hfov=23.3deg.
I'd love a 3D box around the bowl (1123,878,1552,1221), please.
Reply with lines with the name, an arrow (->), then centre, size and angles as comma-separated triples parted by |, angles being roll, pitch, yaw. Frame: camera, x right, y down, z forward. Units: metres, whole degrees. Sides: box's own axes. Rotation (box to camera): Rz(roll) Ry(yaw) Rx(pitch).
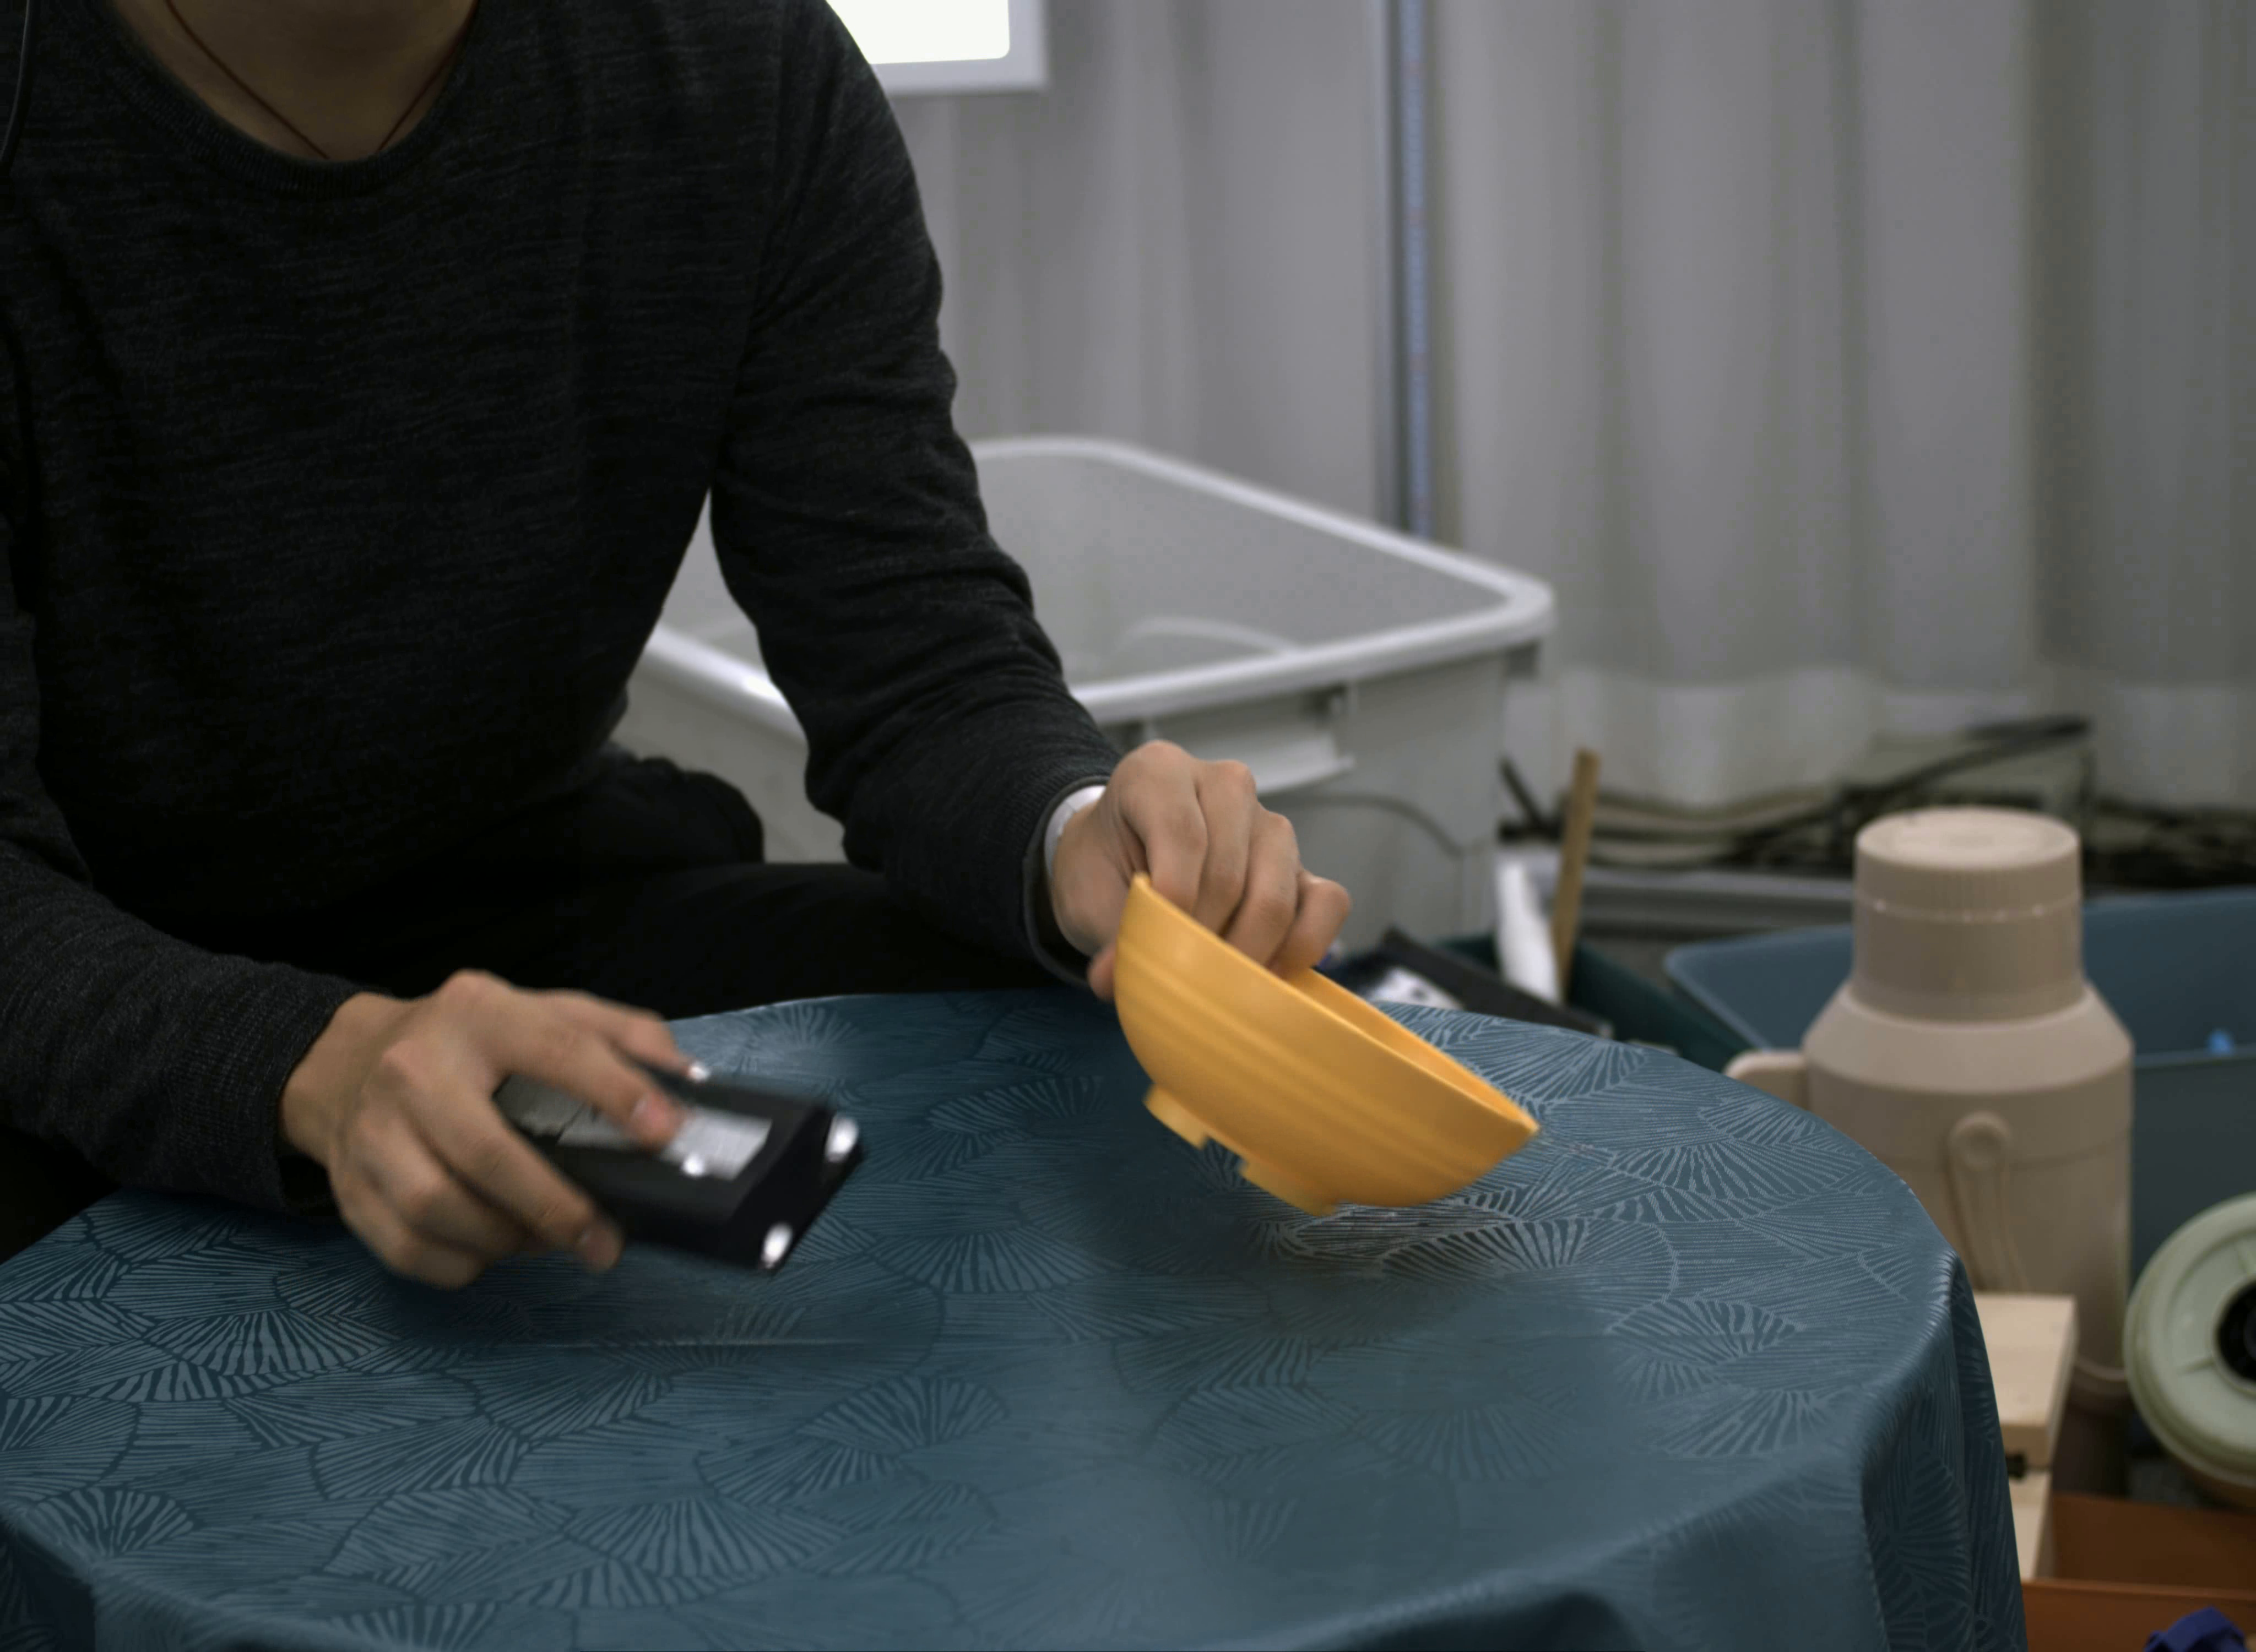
bowl -> 0.052, 0.077, 1.650 | 0.145, 0.060, 0.145 | 30, 5, -3

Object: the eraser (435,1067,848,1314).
eraser -> -0.142, 0.105, 1.600 | 0.126, 0.030, 0.054 | 11, 46, 41
